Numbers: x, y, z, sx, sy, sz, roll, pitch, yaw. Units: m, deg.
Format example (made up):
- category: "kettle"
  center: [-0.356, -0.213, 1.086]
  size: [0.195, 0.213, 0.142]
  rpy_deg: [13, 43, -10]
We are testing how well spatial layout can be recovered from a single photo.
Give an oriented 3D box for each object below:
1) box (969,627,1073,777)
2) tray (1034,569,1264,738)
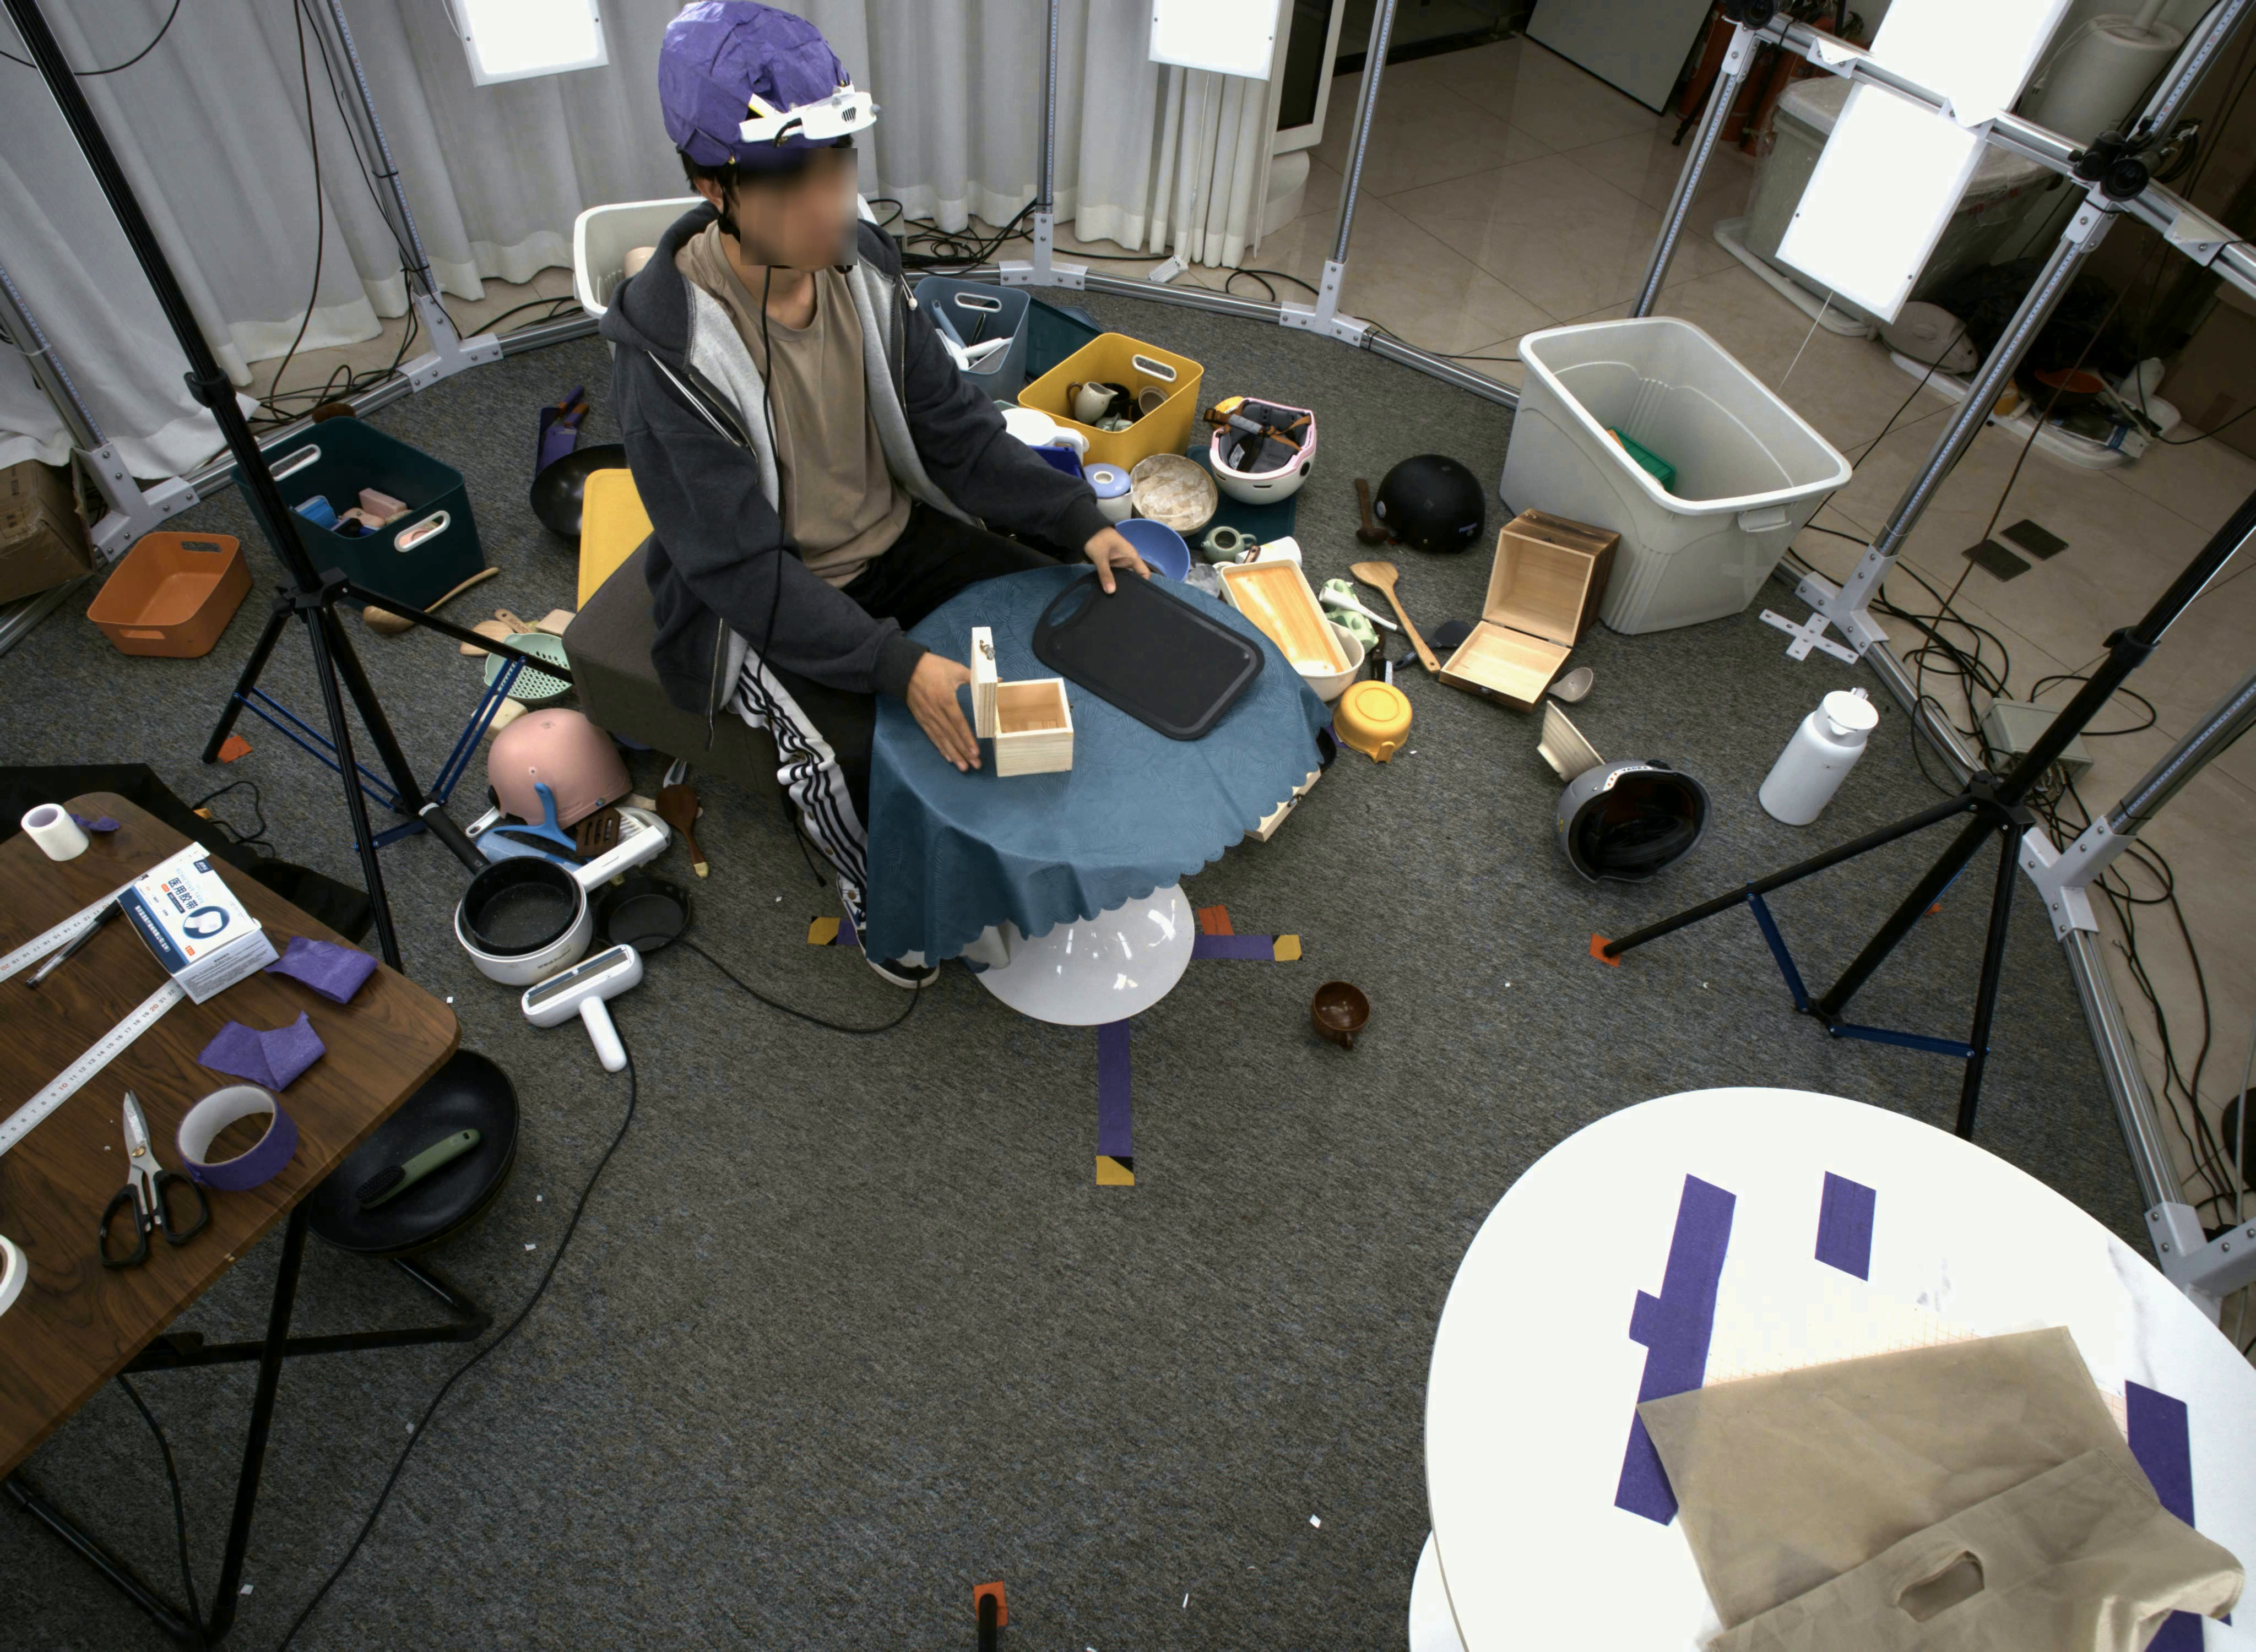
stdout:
- category: "box"
  center: [-0.138, -0.165, 1.681]
  size: [0.134, 0.180, 0.105]
  rpy_deg: [-6, 51, -8]
- category: "tray"
  center: [0.022, -0.260, 1.864]
  size: [0.329, 0.009, 0.213]
  rpy_deg: [33, 65, 22]
